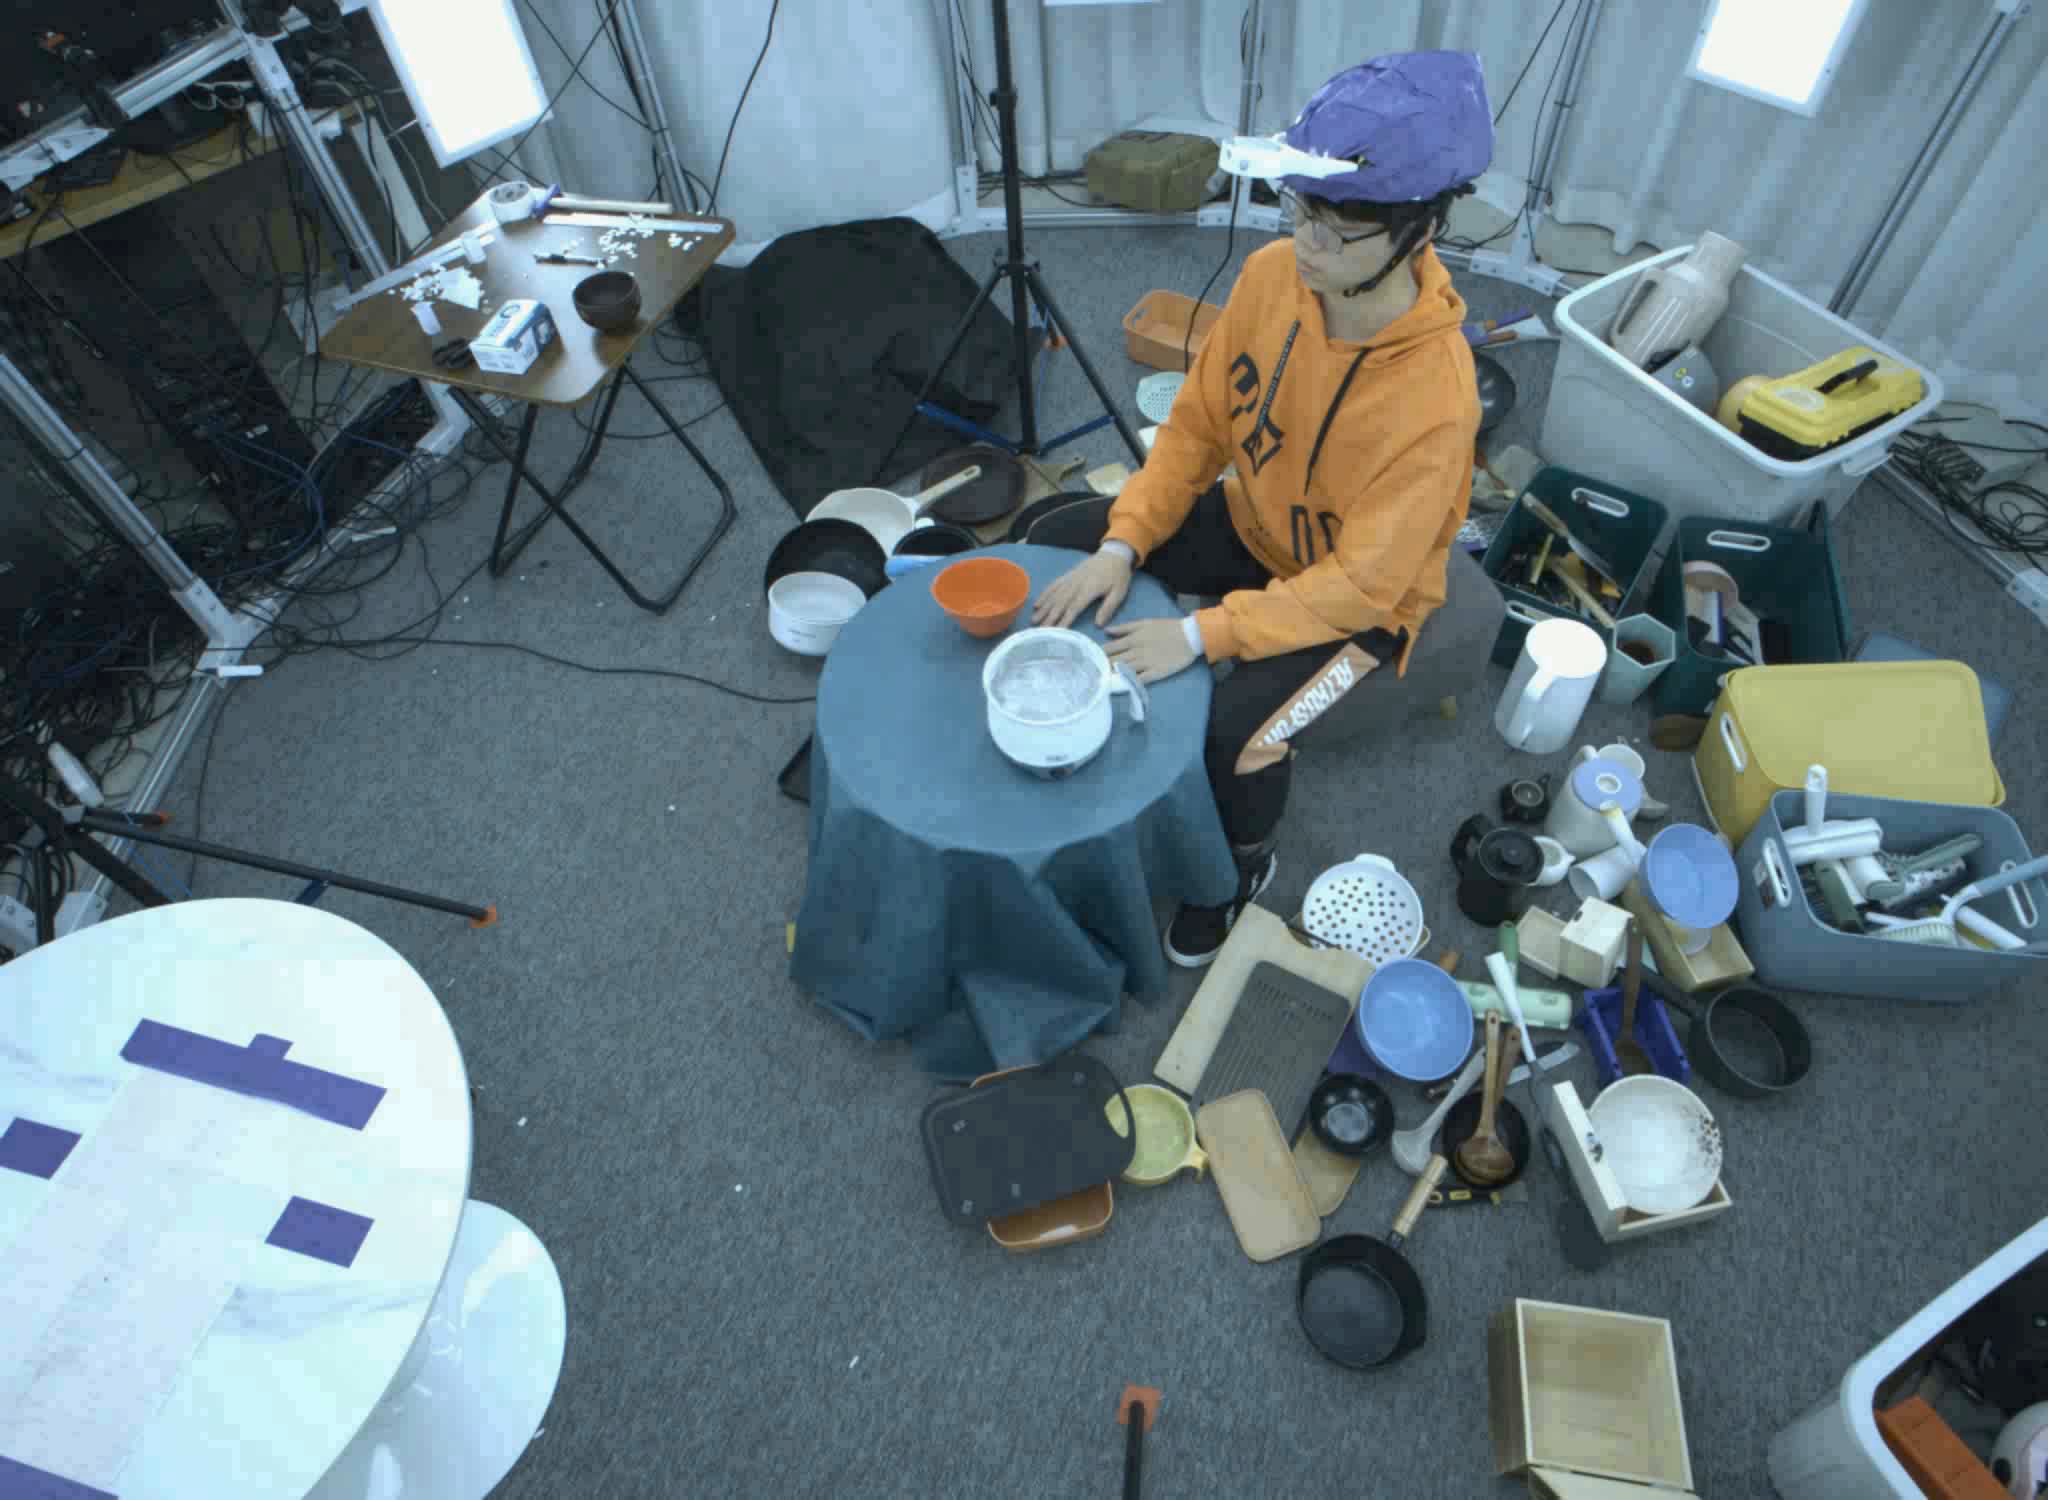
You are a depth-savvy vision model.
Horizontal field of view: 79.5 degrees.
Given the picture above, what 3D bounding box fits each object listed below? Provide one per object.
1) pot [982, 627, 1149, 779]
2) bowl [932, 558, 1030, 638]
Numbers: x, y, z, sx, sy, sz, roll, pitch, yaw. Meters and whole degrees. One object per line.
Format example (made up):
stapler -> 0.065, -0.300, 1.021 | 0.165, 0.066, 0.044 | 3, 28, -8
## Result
pot -> 0.062, -0.070, 1.750 | 0.234, 0.138, 0.176 | -8, 55, -3
bowl -> -0.063, -0.222, 1.888 | 0.148, 0.106, 0.146 | -1, 53, 2
